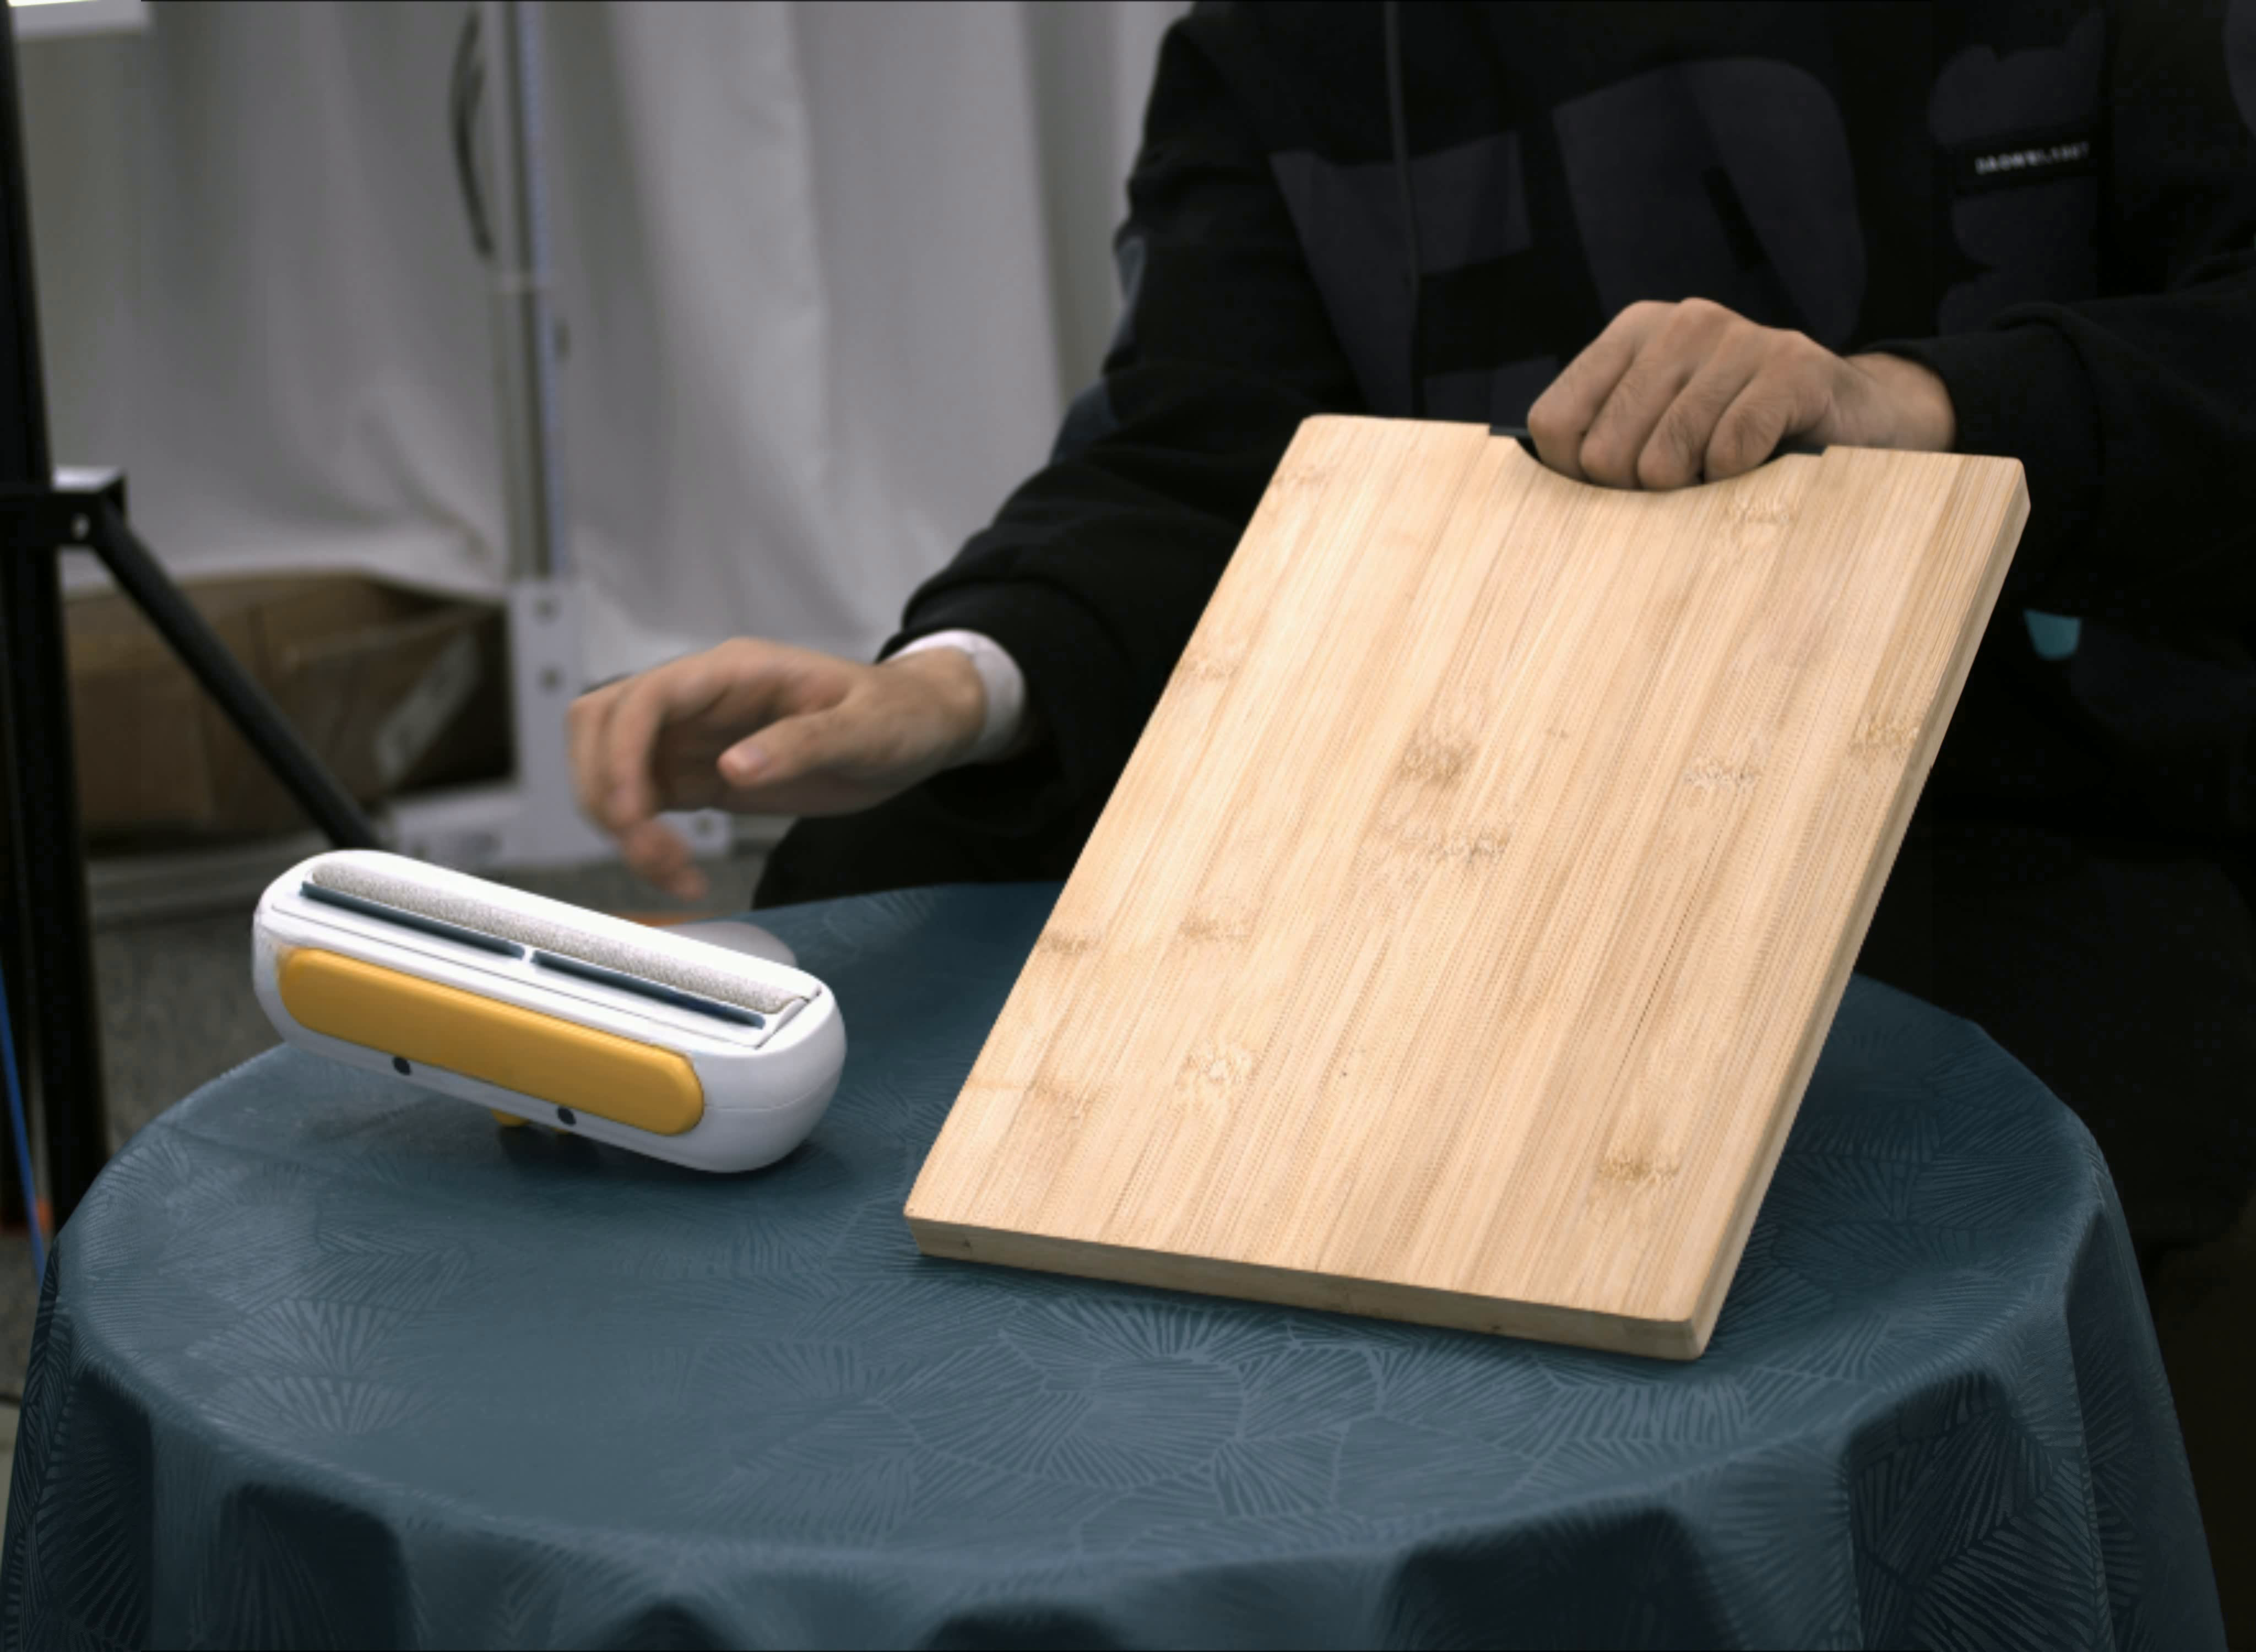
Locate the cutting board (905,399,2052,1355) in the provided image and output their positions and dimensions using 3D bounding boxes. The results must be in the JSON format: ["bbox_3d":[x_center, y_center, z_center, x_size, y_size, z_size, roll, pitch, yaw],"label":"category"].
[{"bbox_3d":[0.108,0.003,1.559,0.255,0.023,0.348,5,48,27],"label":"cutting board"}]

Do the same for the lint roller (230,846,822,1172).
[{"bbox_3d":[-0.158,0.048,1.676,0.196,0.074,0.189,12,19,27],"label":"lint roller"}]
